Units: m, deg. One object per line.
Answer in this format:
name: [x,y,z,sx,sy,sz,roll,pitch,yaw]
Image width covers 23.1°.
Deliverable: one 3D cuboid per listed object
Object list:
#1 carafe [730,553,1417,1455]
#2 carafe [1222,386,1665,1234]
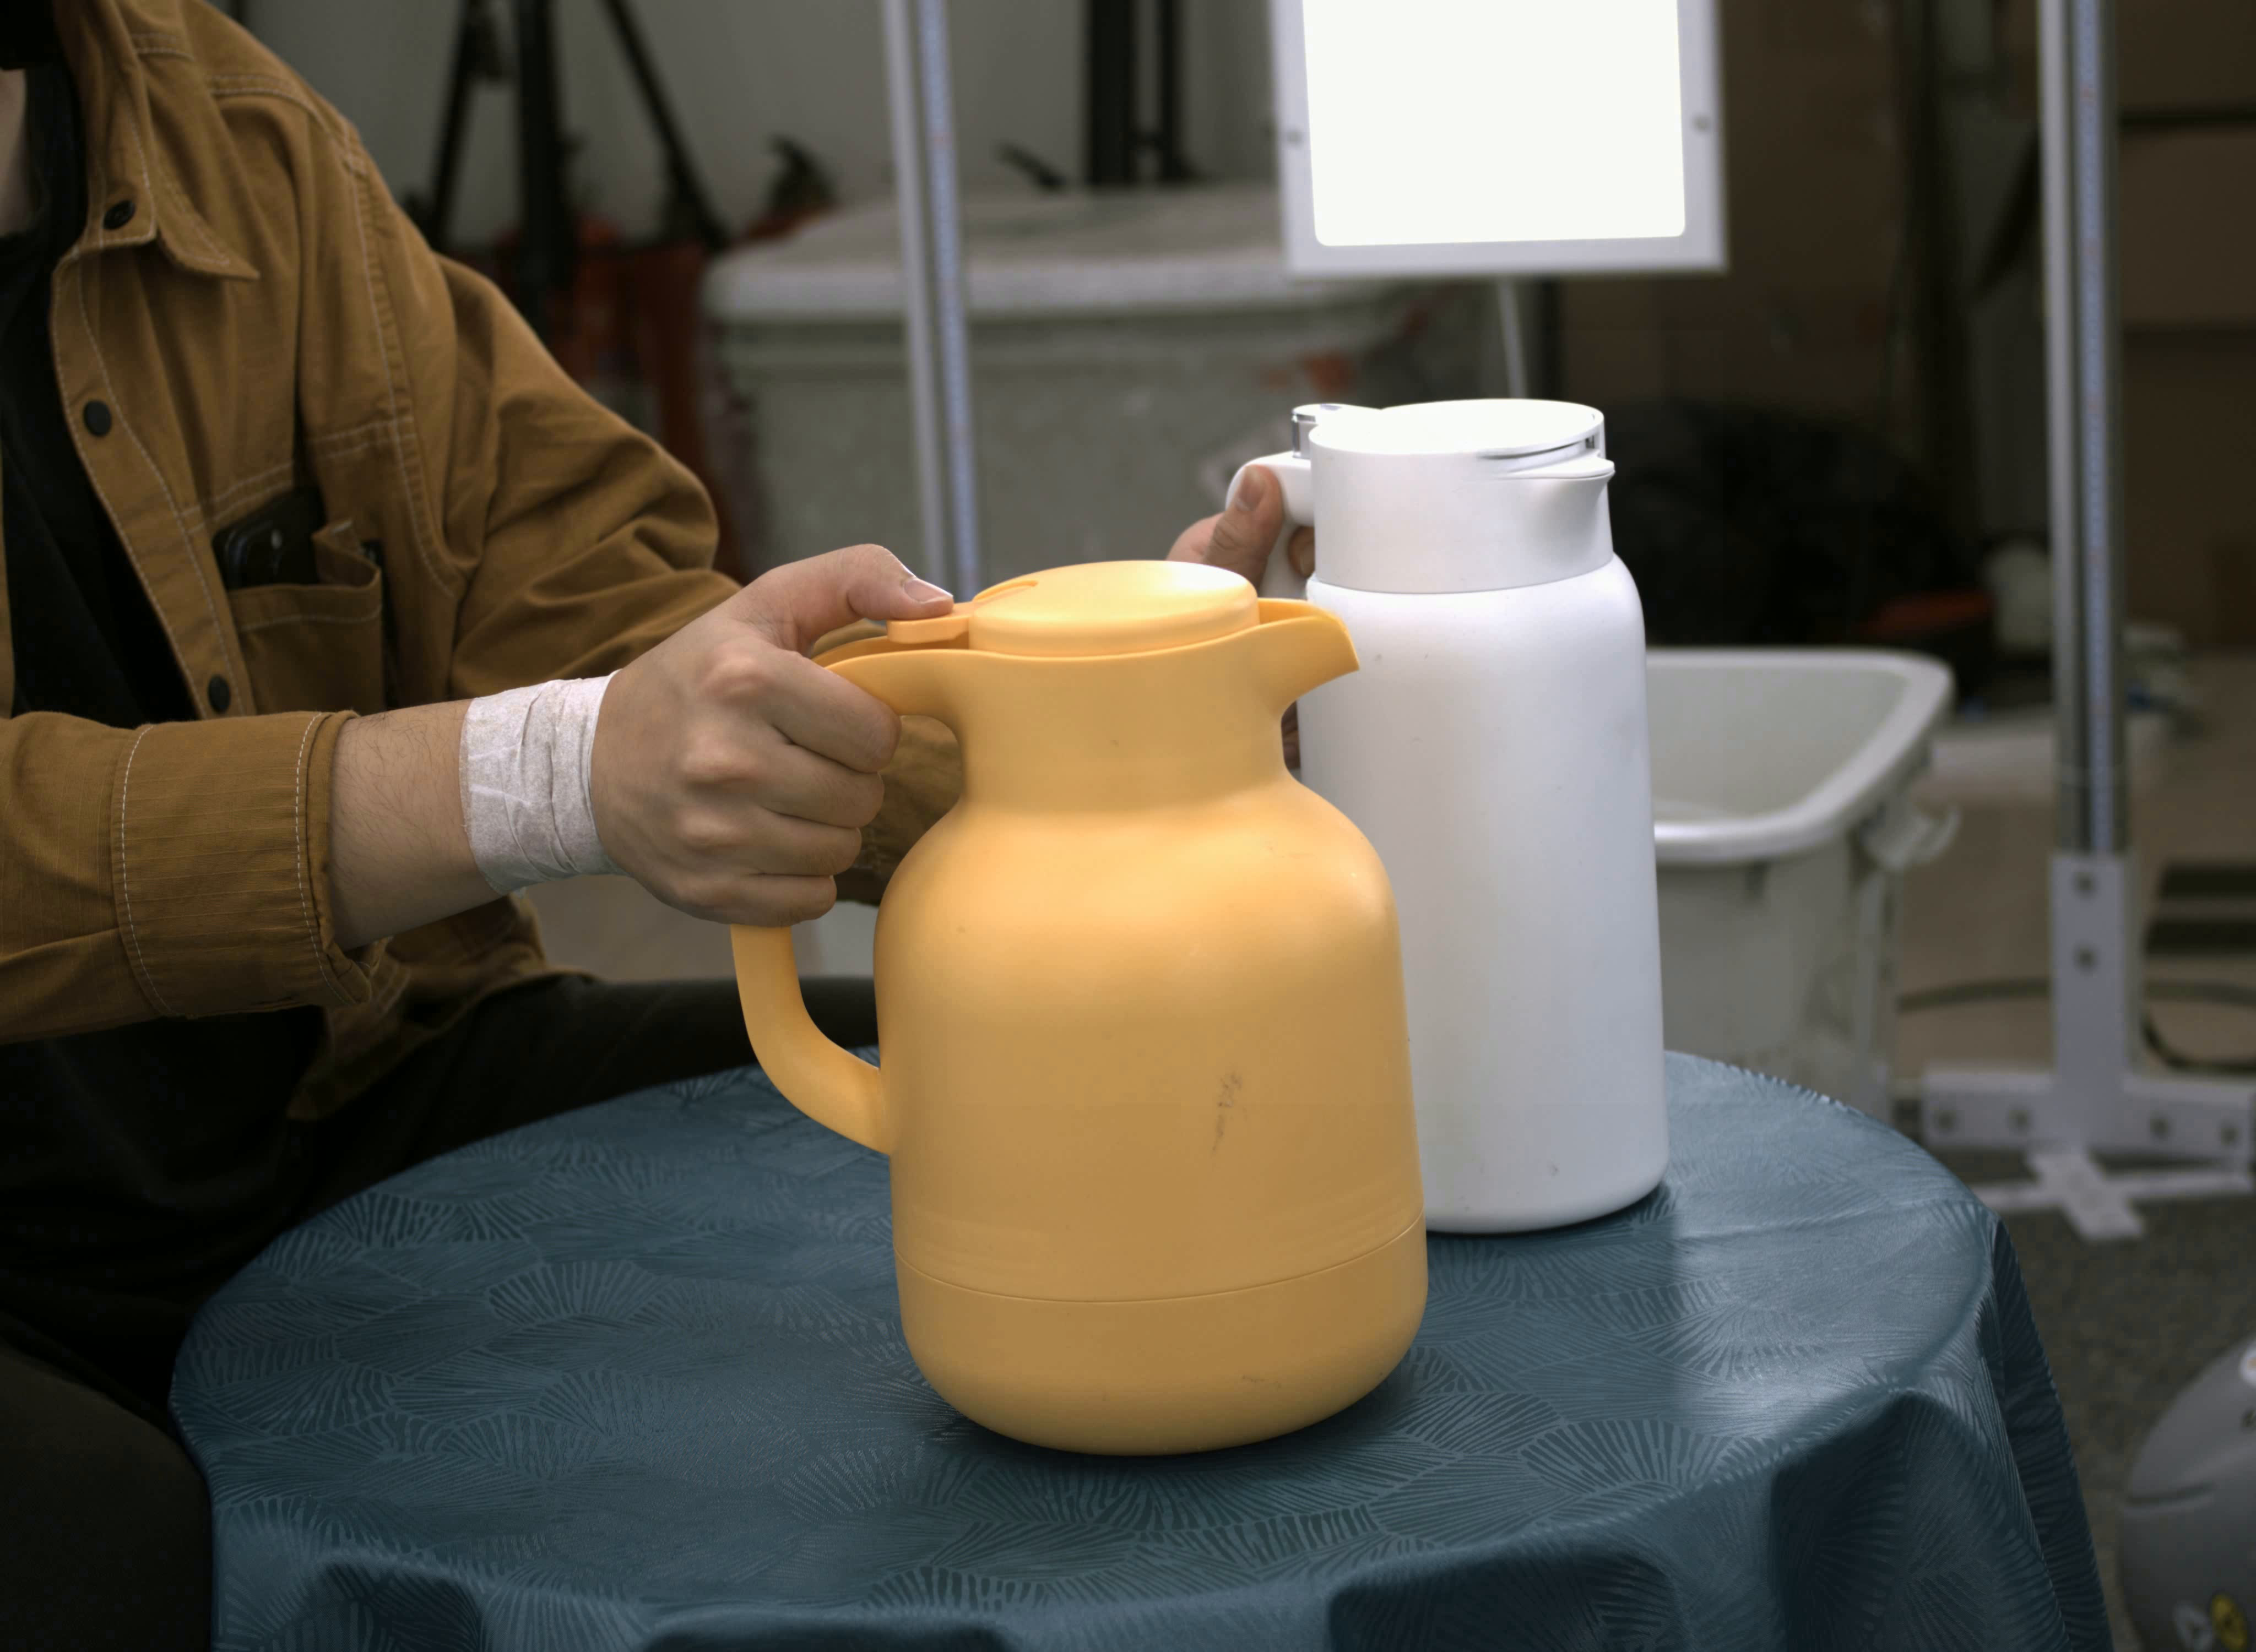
carafe: [-0.017,0.050,1.666,0.202,0.261,0.162,-2,11,4]
carafe: [0.103,-0.008,1.845,0.121,0.270,0.176,-18,19,-38]
